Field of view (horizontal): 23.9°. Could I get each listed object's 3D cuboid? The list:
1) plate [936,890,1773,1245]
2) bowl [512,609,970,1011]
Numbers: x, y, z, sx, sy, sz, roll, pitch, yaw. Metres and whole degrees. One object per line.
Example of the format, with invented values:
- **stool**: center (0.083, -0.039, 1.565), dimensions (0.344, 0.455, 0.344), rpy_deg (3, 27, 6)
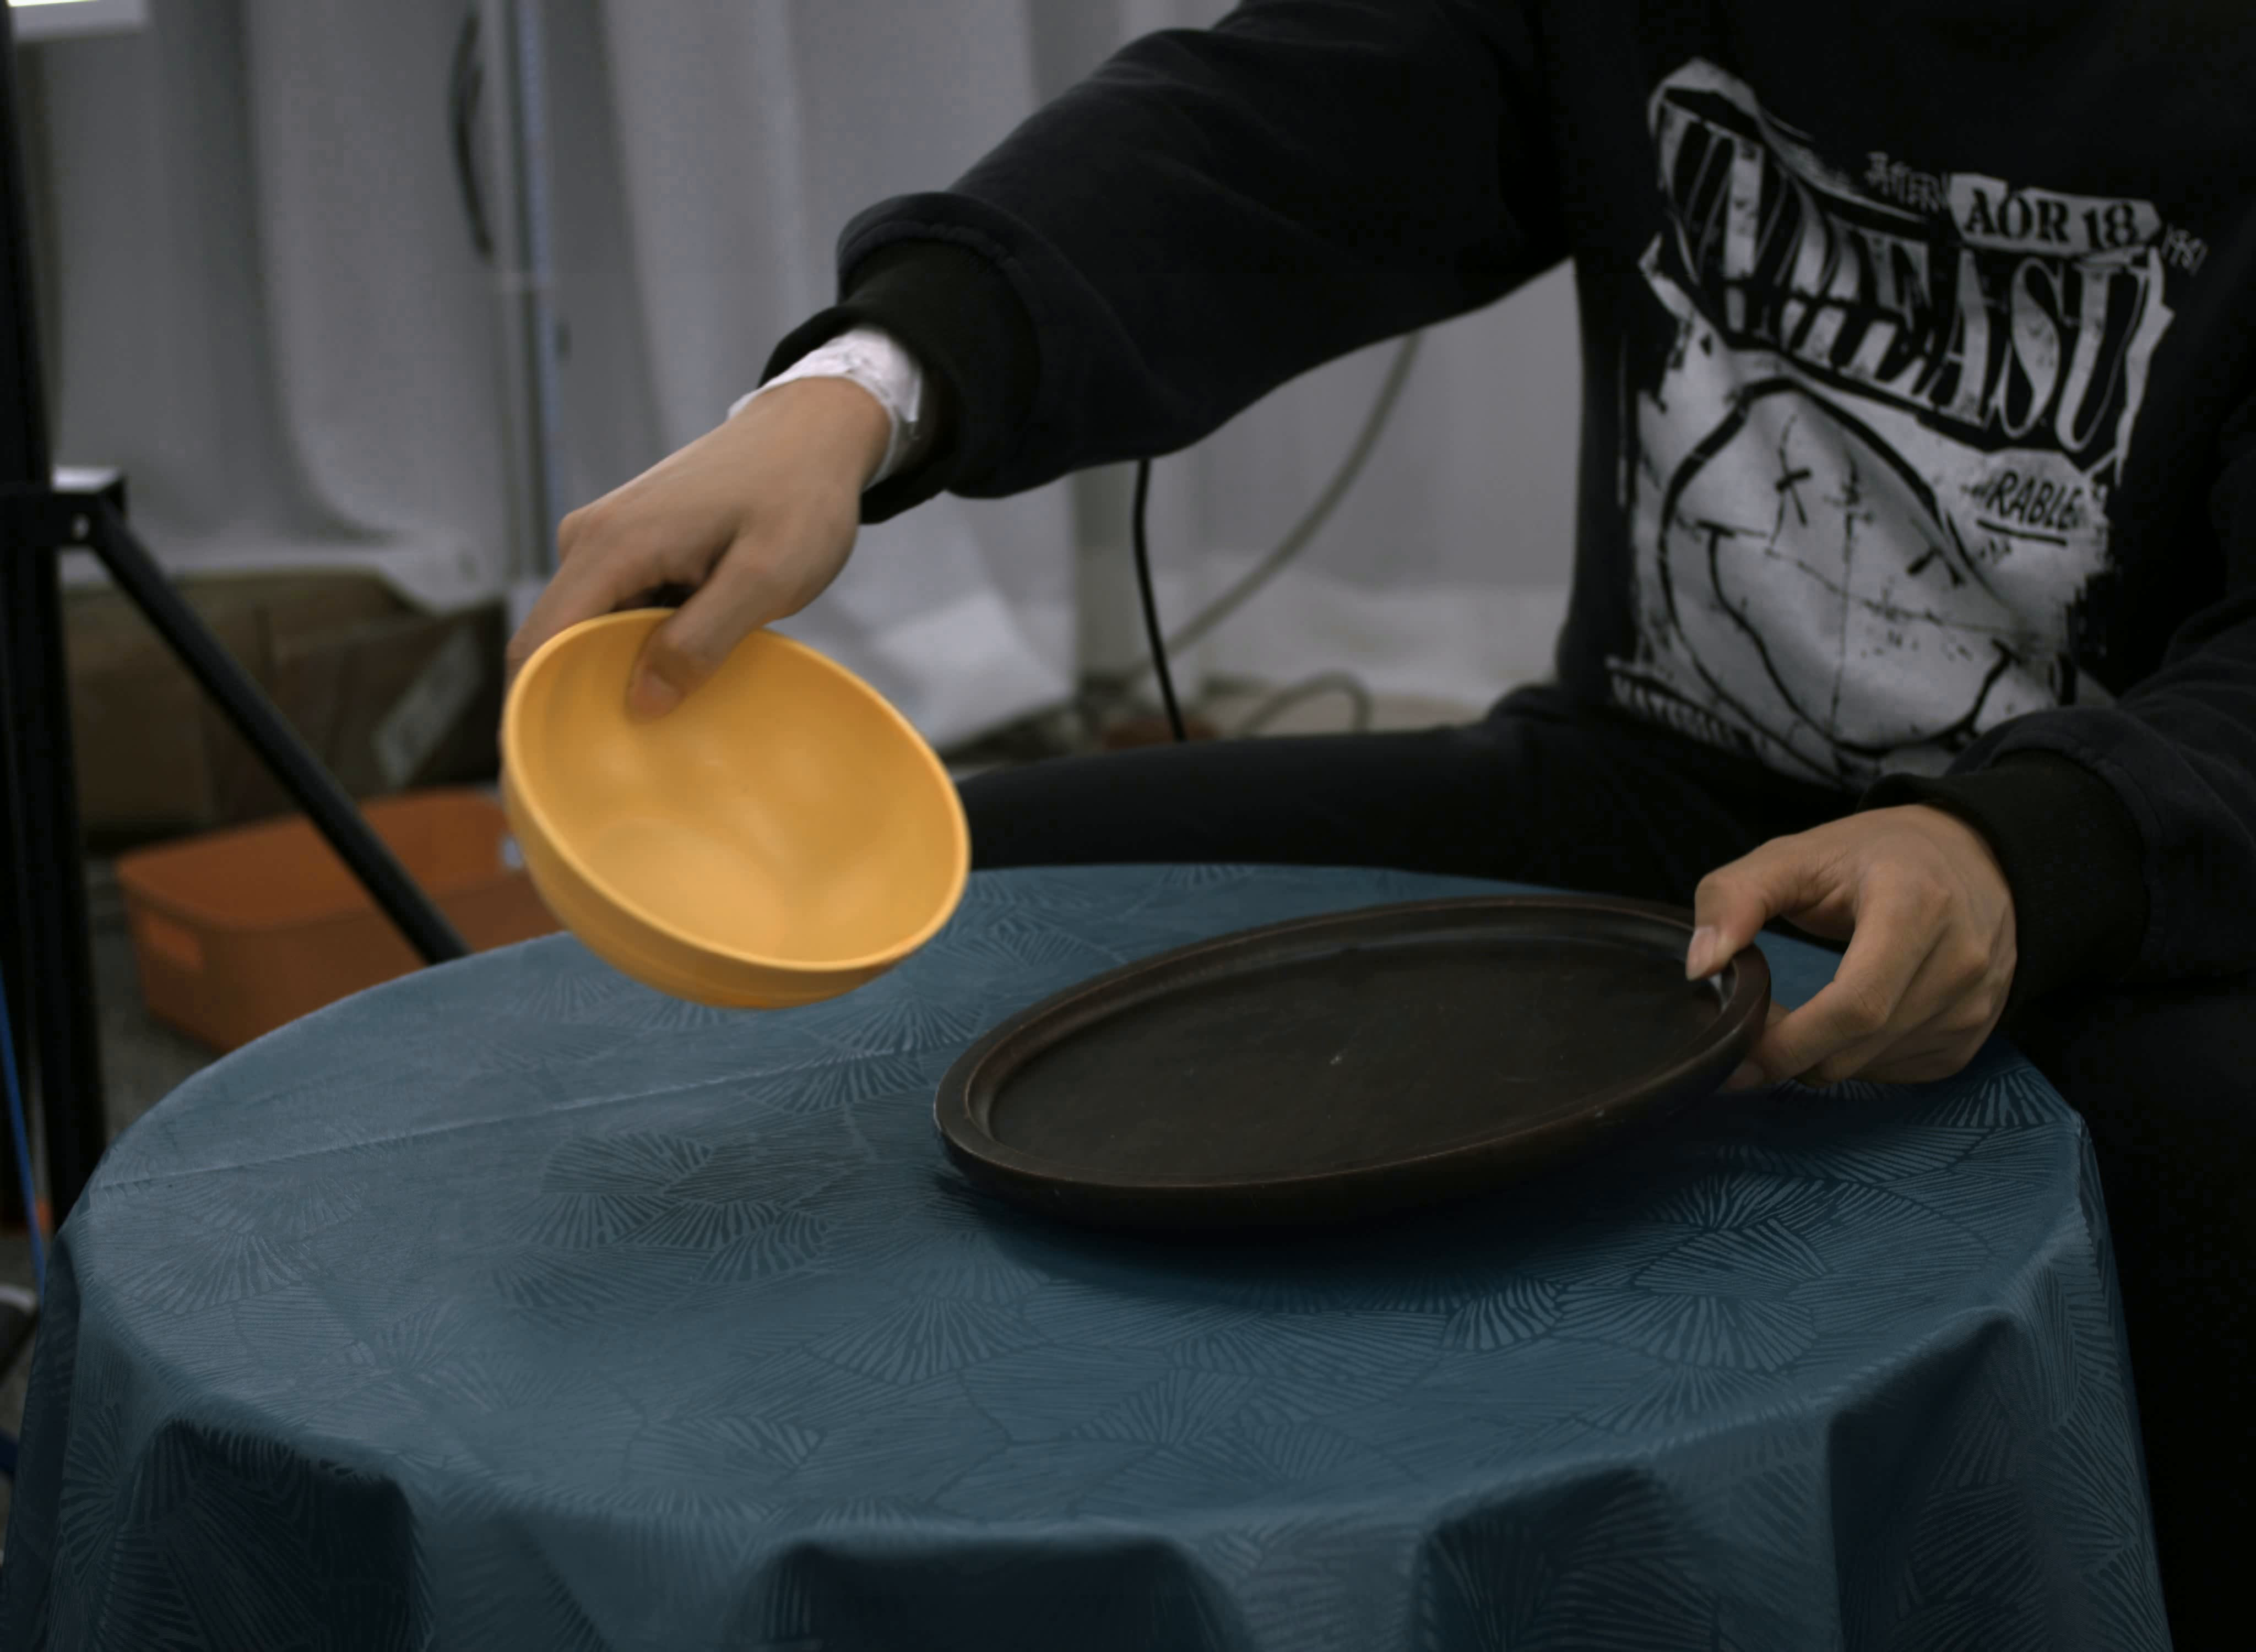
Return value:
- **plate**: center (0.068, 0.070, 1.582), dimensions (0.254, 0.029, 0.256), rpy_deg (-12, 14, 1)
- **bowl**: center (-0.123, 0.007, 1.575), dimensions (0.143, 0.060, 0.147), rpy_deg (18, 38, -16)
